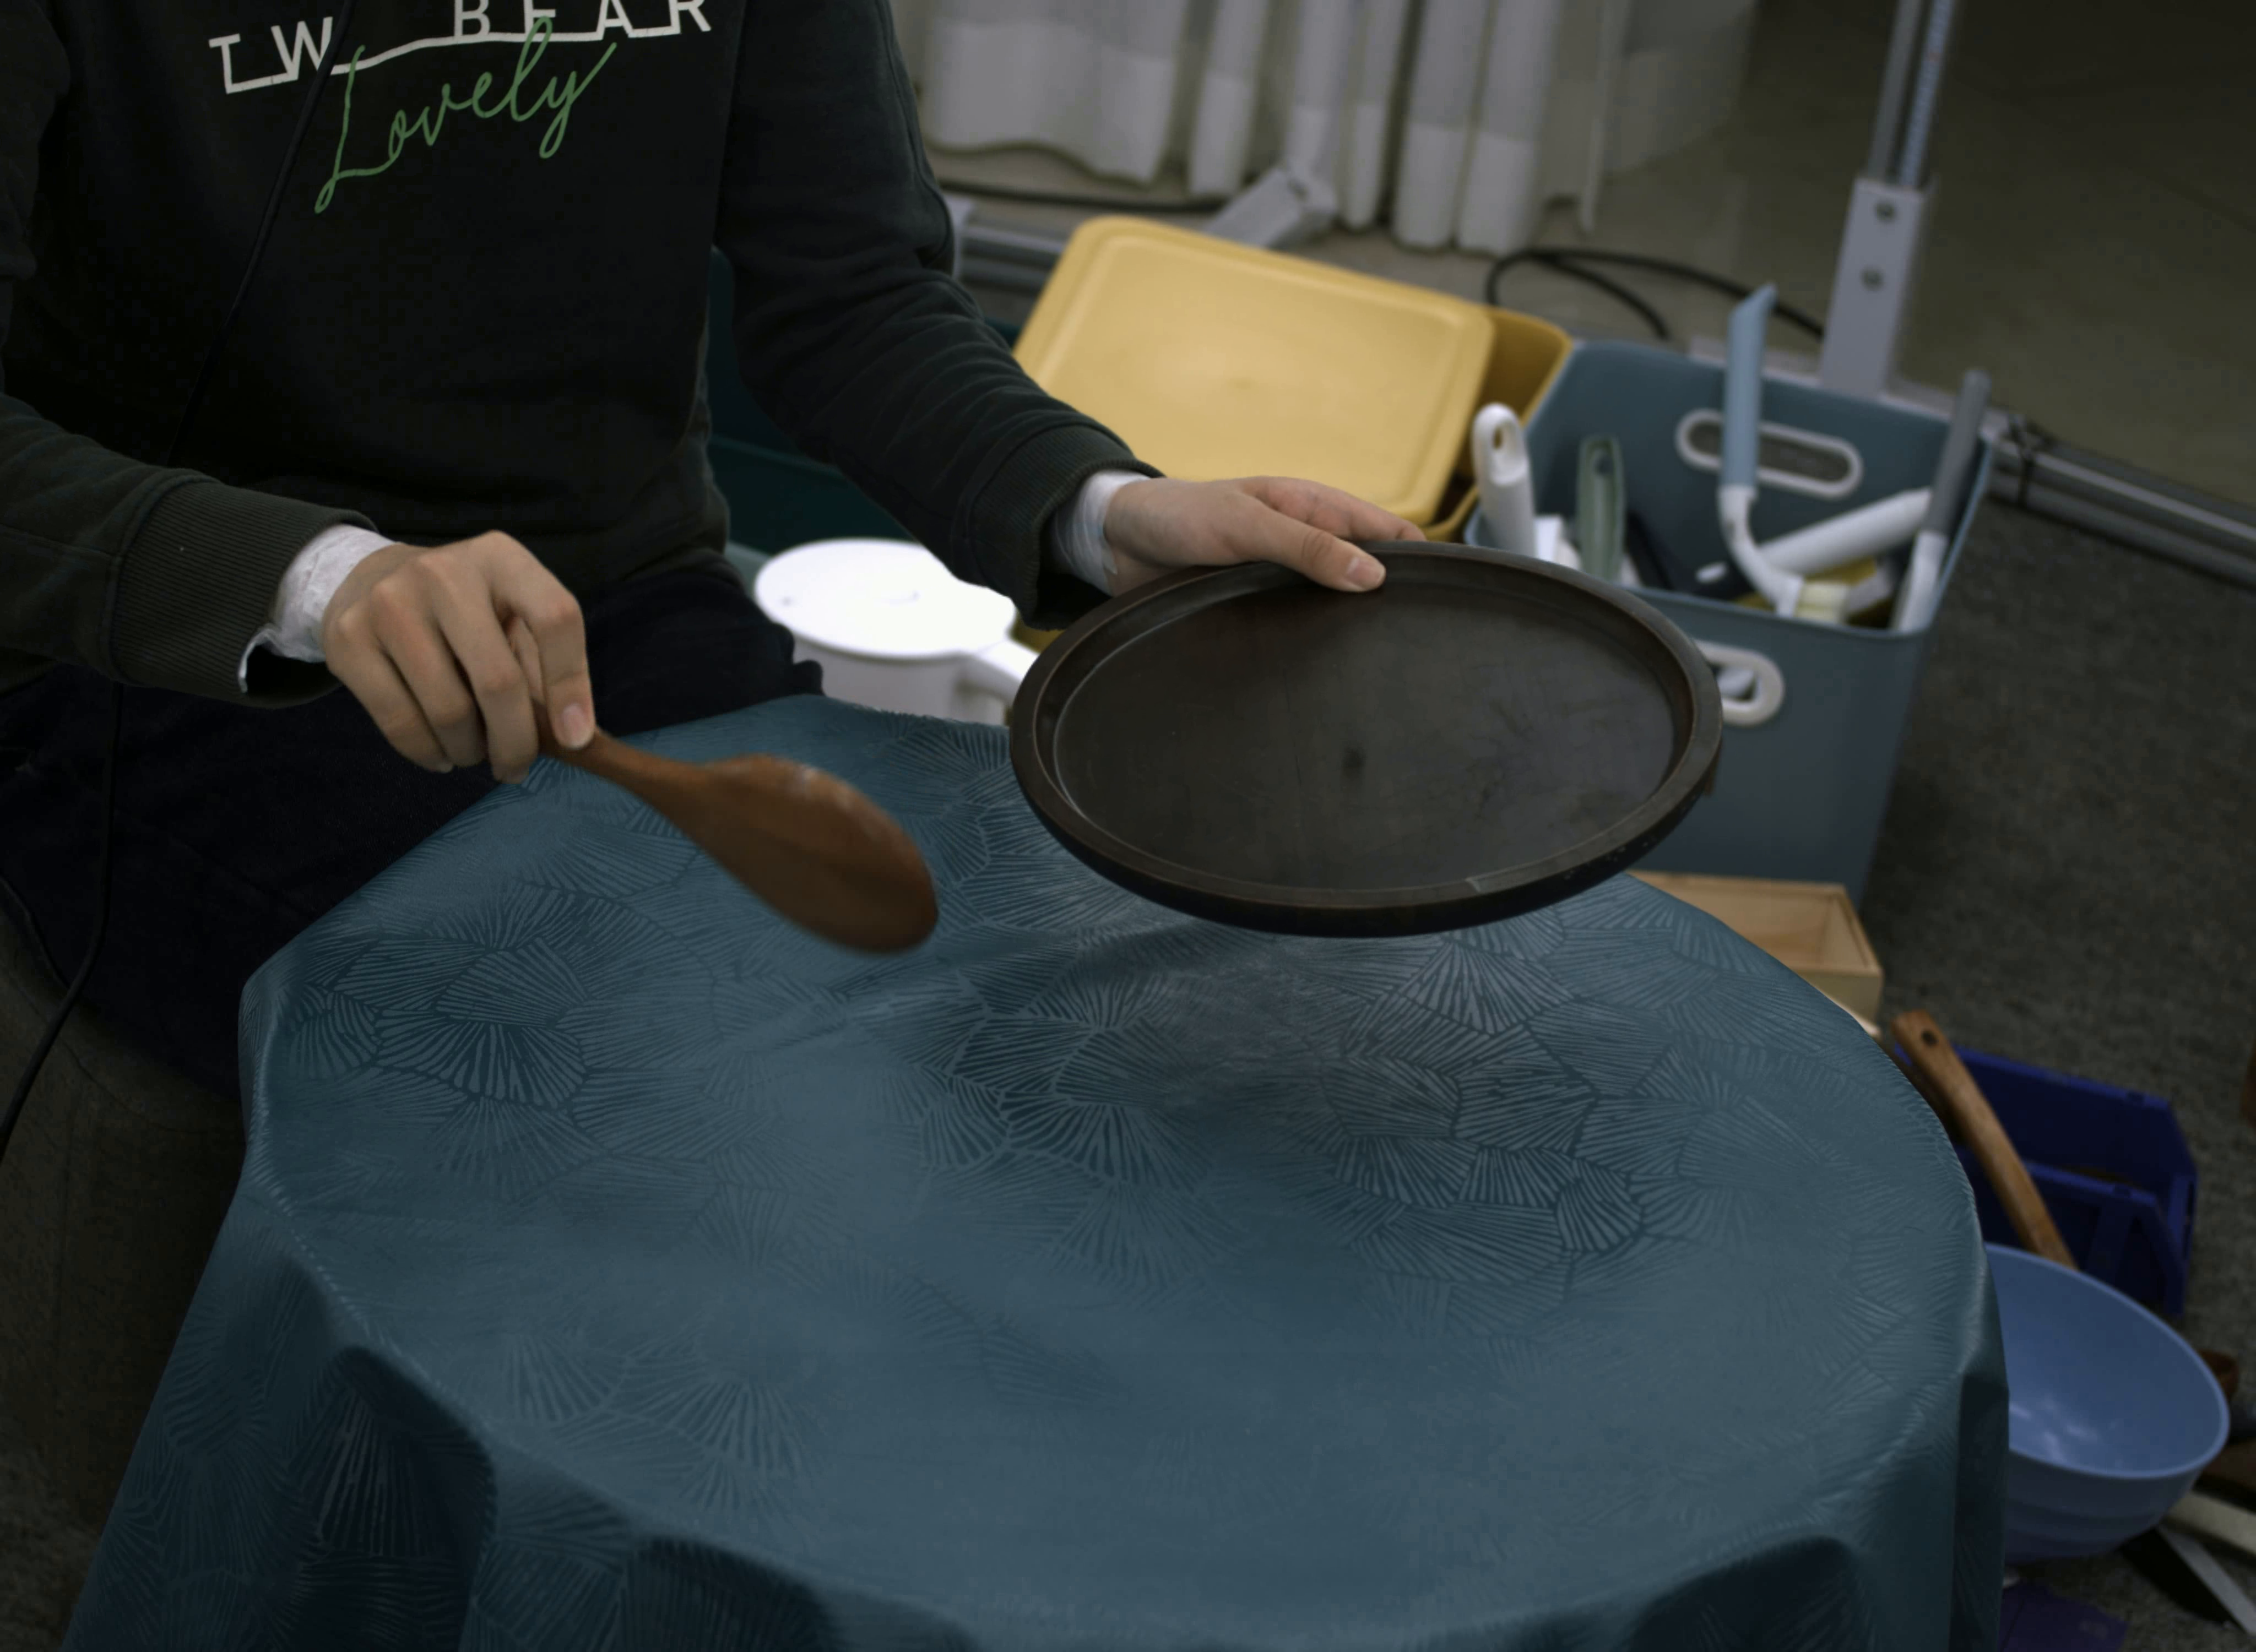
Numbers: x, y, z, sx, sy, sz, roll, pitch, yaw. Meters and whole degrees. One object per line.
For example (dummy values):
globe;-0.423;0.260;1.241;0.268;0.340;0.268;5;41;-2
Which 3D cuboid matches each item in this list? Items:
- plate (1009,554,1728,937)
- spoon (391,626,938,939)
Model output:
plate;0.084;-0.031;1.878;0.254;0.029;0.256;-2;31;1
spoon;-0.152;-0.017;1.713;0.217;0.075;0.017;25;54;25
